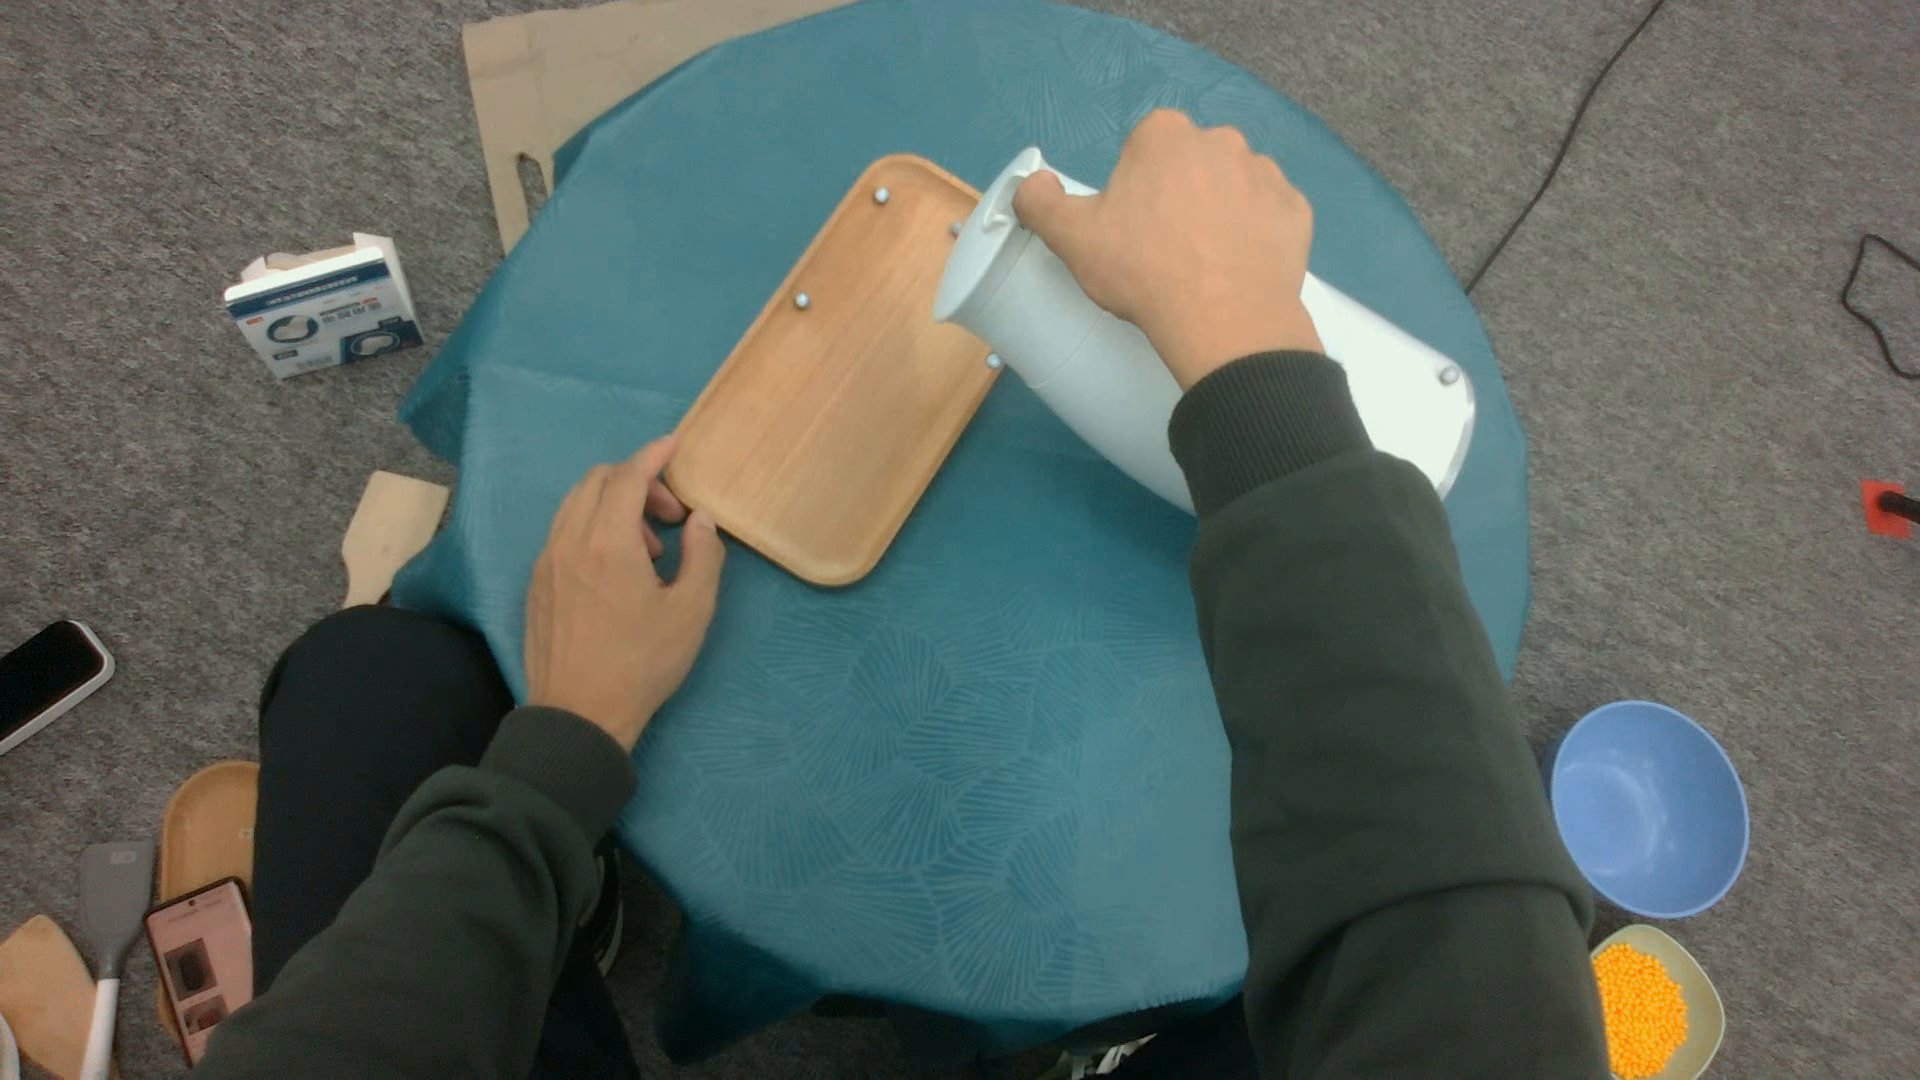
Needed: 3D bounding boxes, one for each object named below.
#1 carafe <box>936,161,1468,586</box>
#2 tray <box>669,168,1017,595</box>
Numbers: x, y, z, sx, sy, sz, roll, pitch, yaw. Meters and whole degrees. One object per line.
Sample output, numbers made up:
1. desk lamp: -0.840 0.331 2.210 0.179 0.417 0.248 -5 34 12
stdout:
1. carafe: 0.119 -0.094 0.671 0.248 0.167 0.133 28 71 -14
2. tray: -0.048 -0.093 0.771 0.130 0.023 0.251 31 71 4
